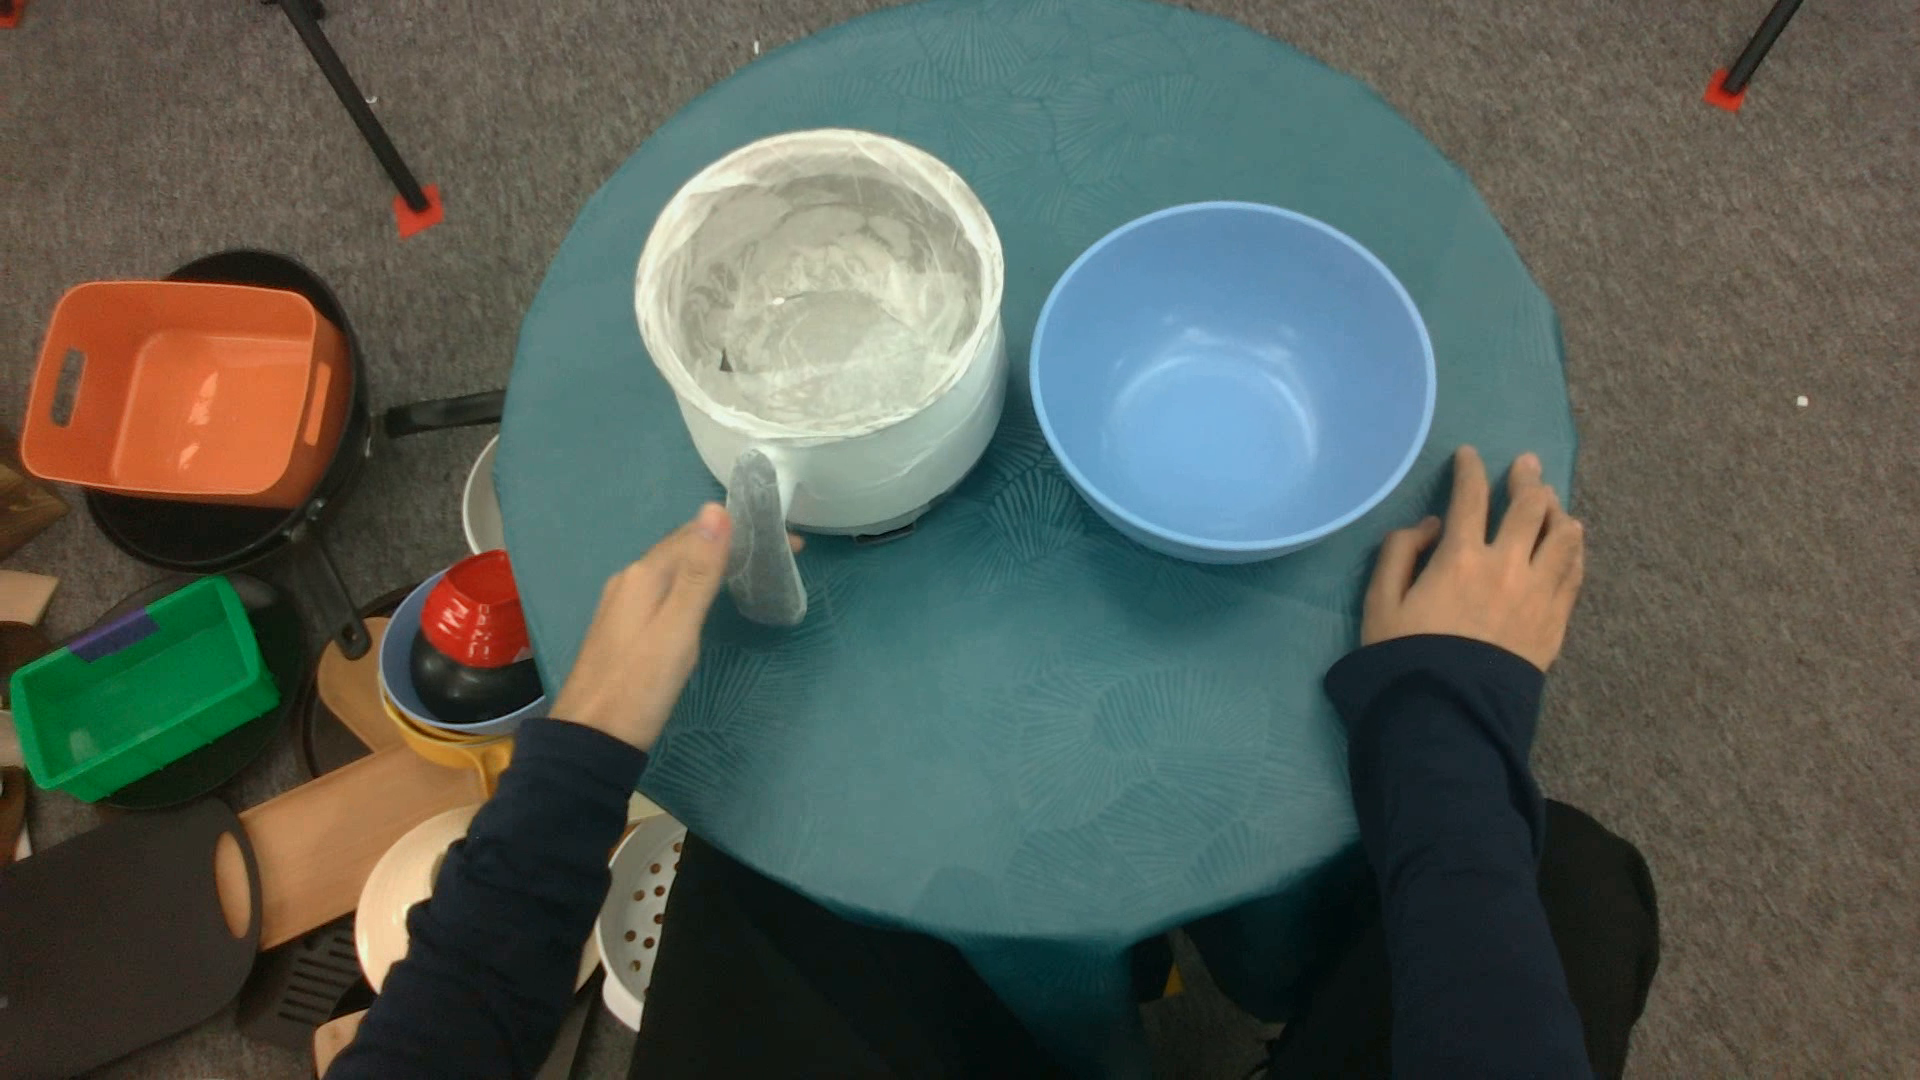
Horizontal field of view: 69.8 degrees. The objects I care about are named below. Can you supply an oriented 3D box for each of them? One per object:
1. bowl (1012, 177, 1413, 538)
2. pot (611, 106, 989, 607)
[{"bbox_3d":[0.124,-0.080,0.716,0.196,0.095,0.197,0,66,0],"label":"bowl"},{"bbox_3d":[-0.081,-0.087,0.704,0.178,0.136,0.234,10,67,9],"label":"pot"}]
